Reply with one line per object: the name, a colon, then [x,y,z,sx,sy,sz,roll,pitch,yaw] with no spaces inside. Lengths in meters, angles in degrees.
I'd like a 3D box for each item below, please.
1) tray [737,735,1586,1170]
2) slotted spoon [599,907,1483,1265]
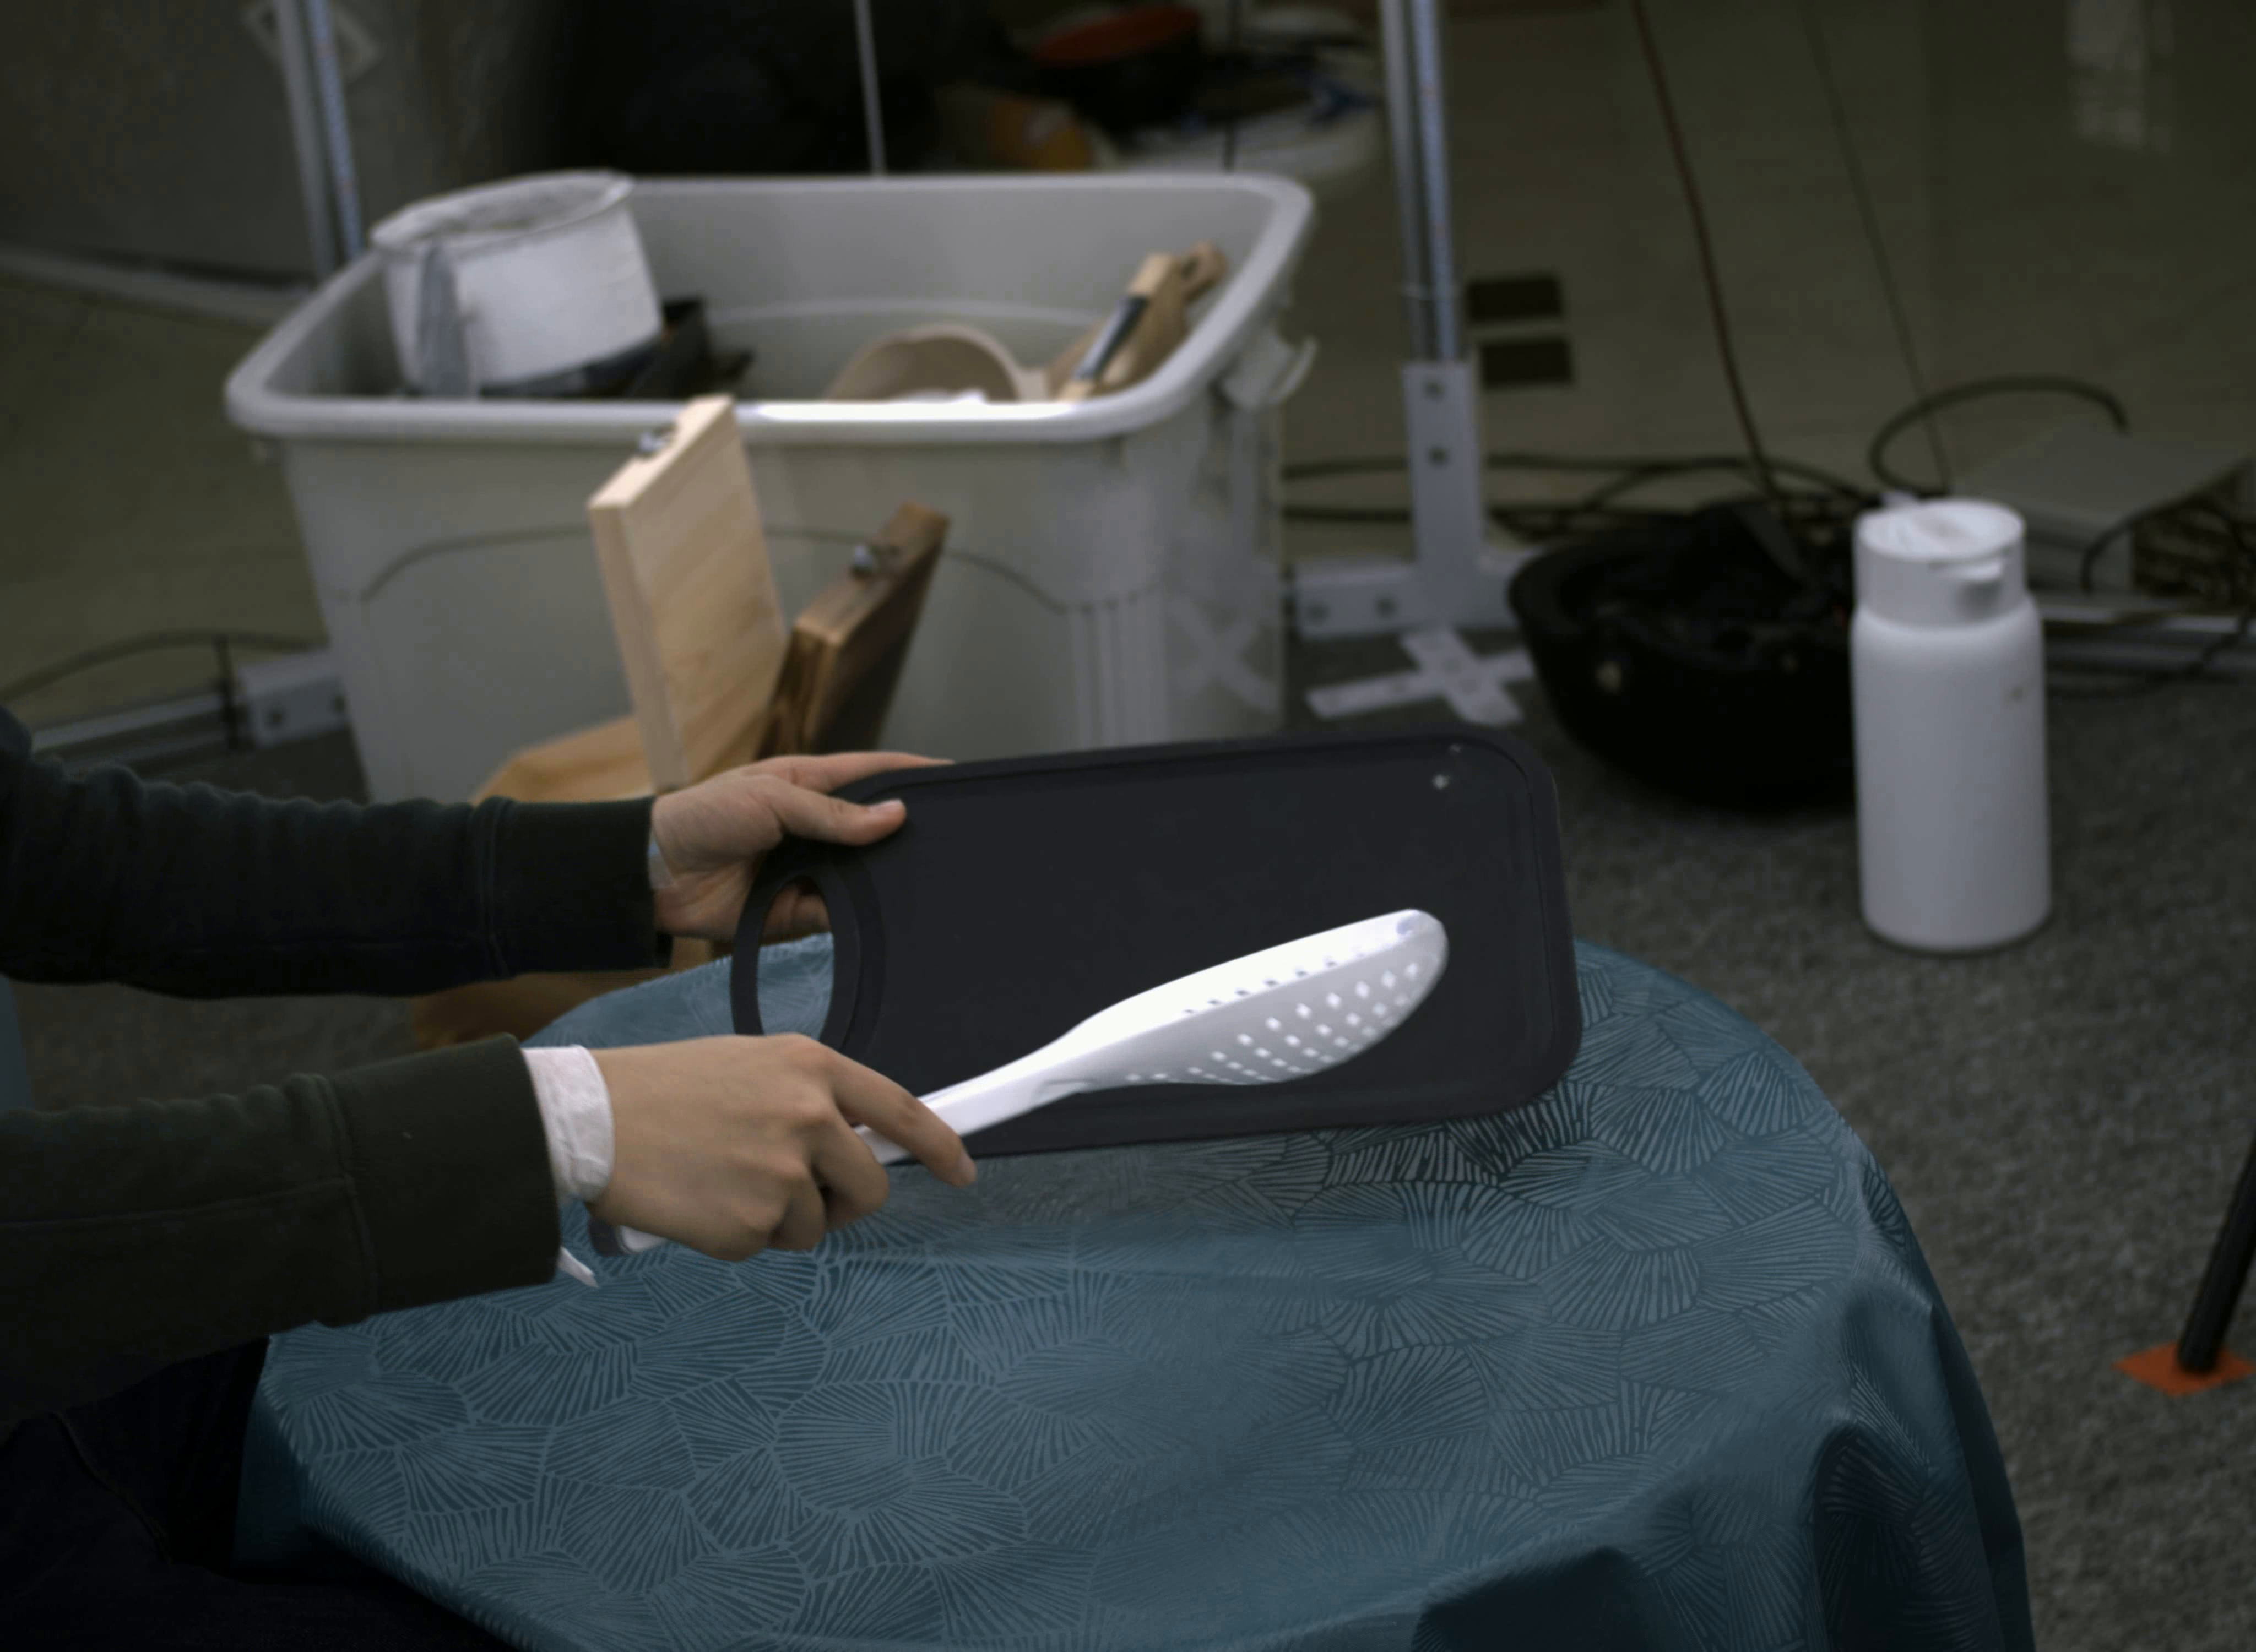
tray: [0.011,0.046,2.178,0.325,0.010,0.207,-4,47,3]
slotted spoon: [-0.025,0.086,1.905,0.348,0.046,0.136,-14,1,-33]
